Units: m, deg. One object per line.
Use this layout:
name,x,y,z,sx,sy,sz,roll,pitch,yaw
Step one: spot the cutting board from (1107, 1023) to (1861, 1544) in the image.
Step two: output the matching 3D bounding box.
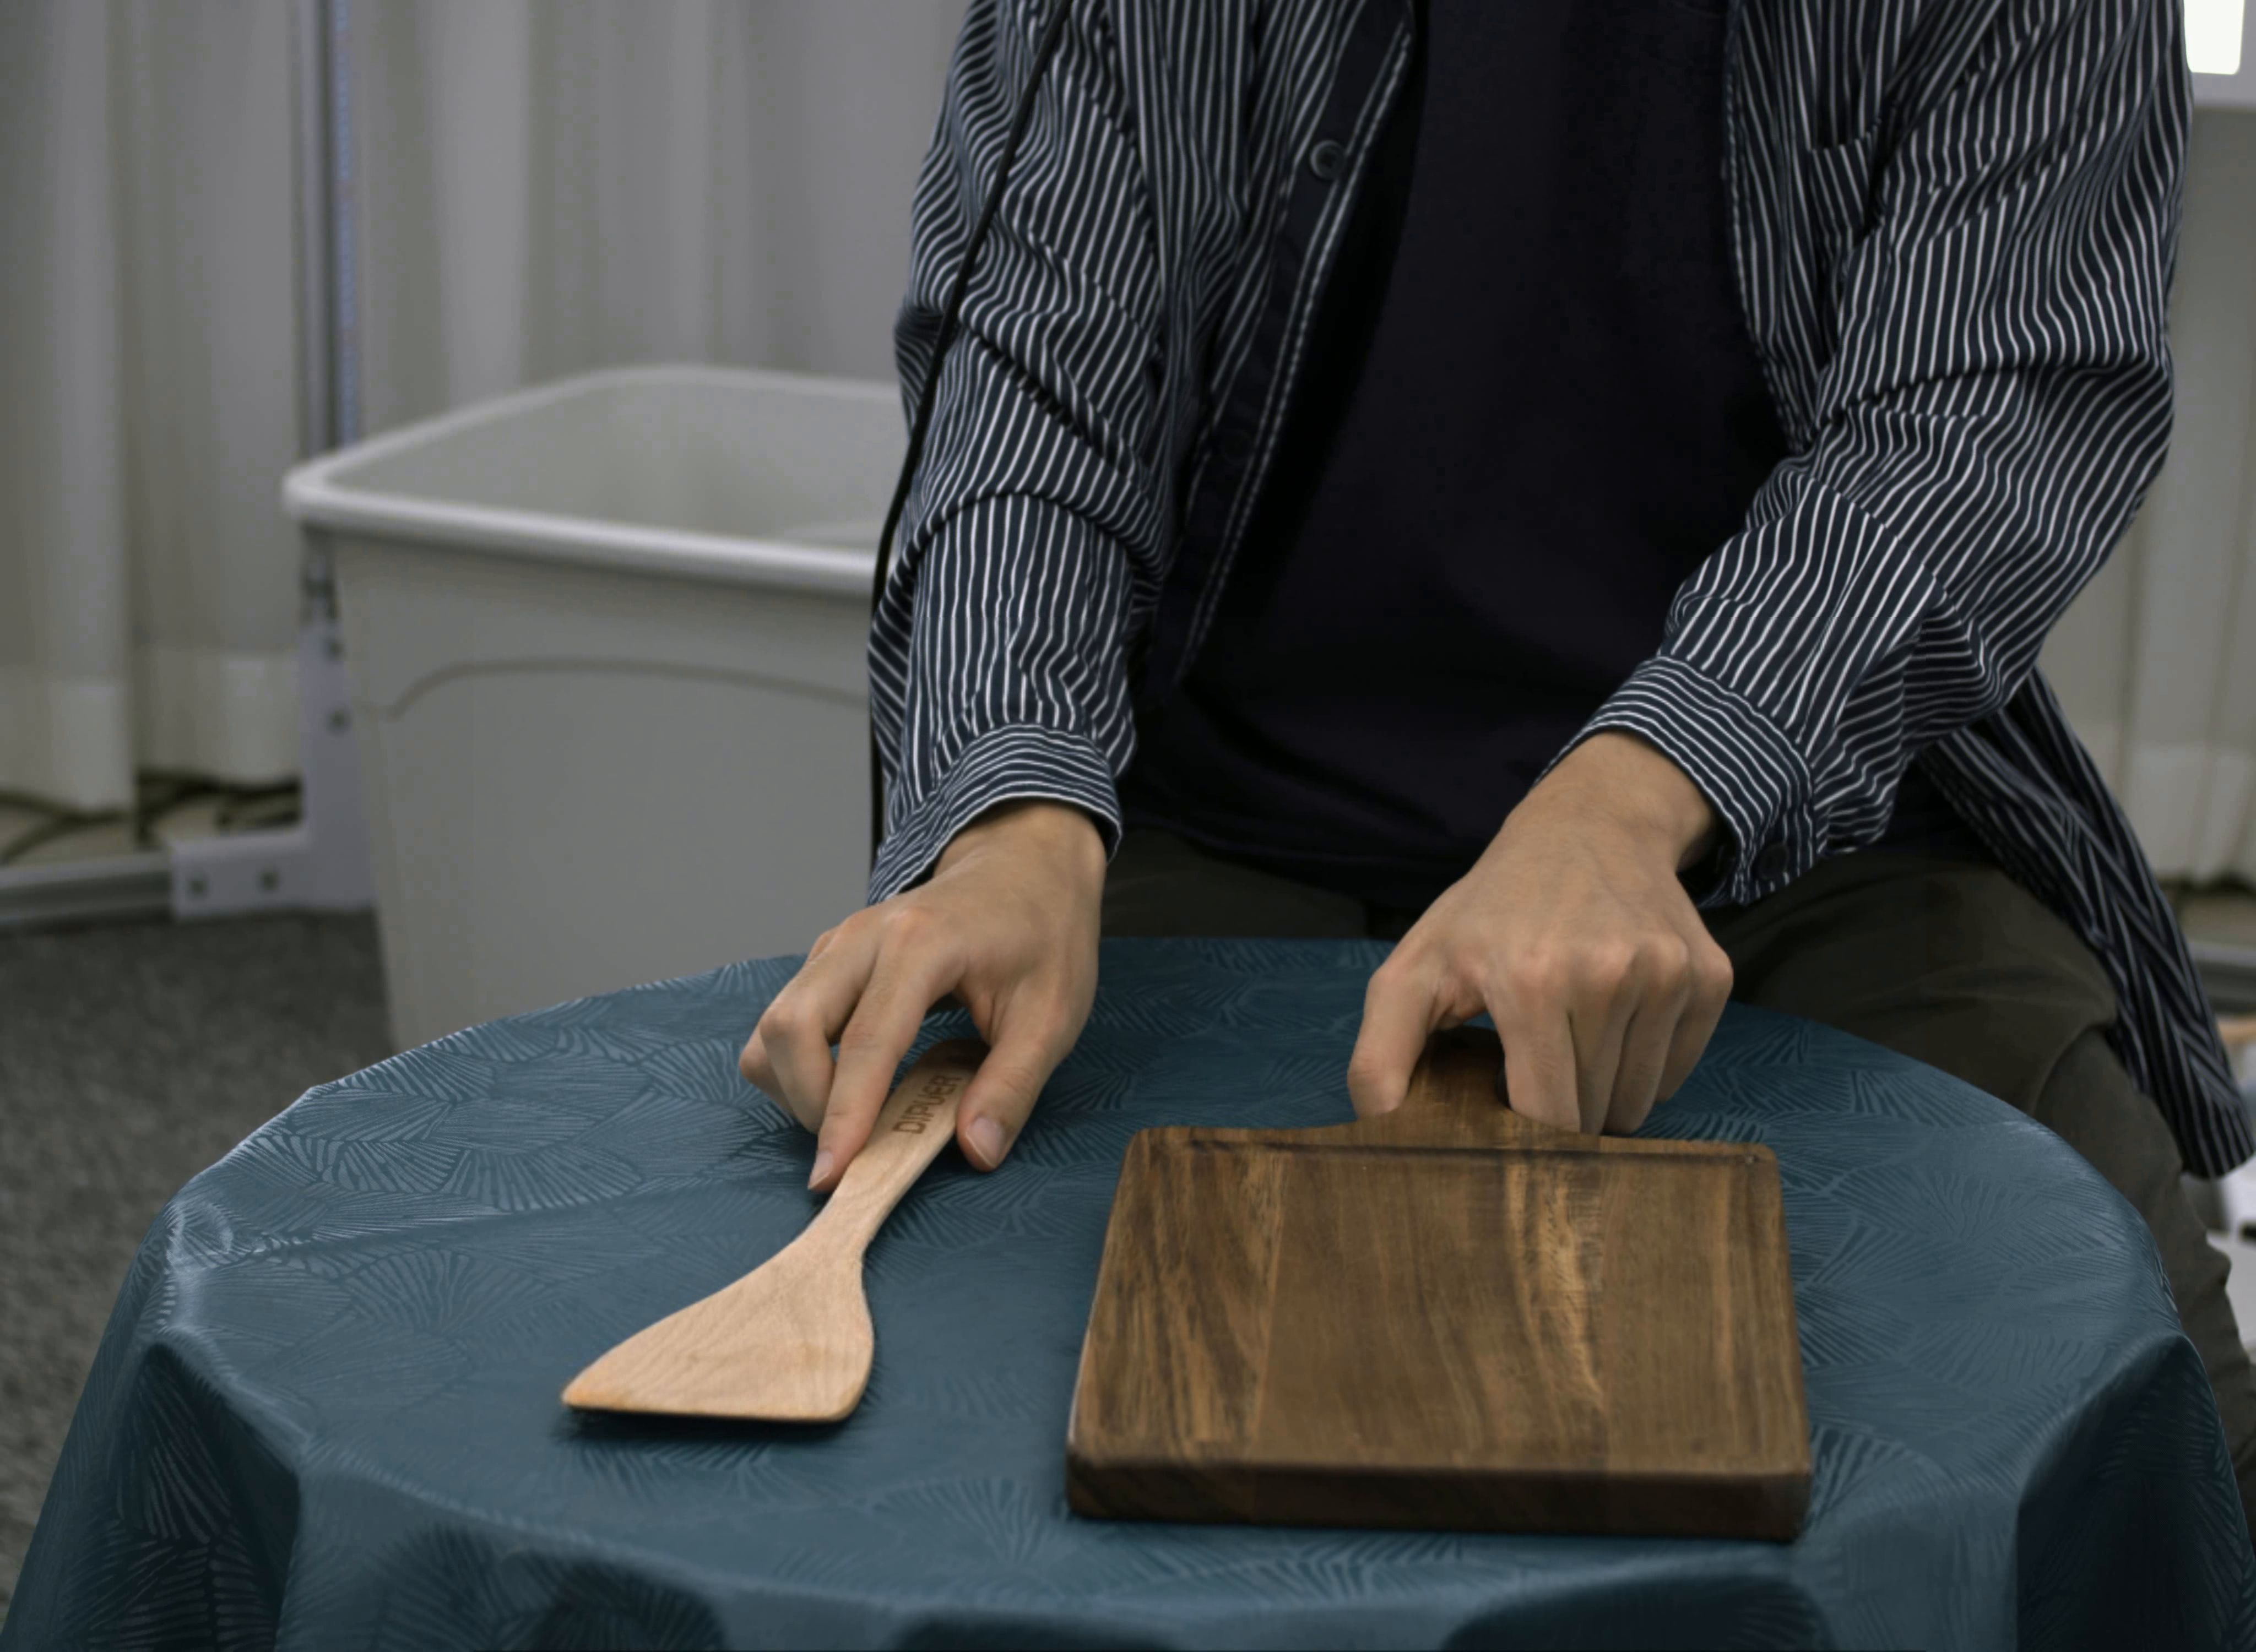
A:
cutting board,0.105,0.124,1.530,0.200,0.023,0.350,2,17,5

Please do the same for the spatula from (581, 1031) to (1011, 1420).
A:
spatula,-0.080,0.115,1.575,0.079,0.016,0.327,5,19,11
